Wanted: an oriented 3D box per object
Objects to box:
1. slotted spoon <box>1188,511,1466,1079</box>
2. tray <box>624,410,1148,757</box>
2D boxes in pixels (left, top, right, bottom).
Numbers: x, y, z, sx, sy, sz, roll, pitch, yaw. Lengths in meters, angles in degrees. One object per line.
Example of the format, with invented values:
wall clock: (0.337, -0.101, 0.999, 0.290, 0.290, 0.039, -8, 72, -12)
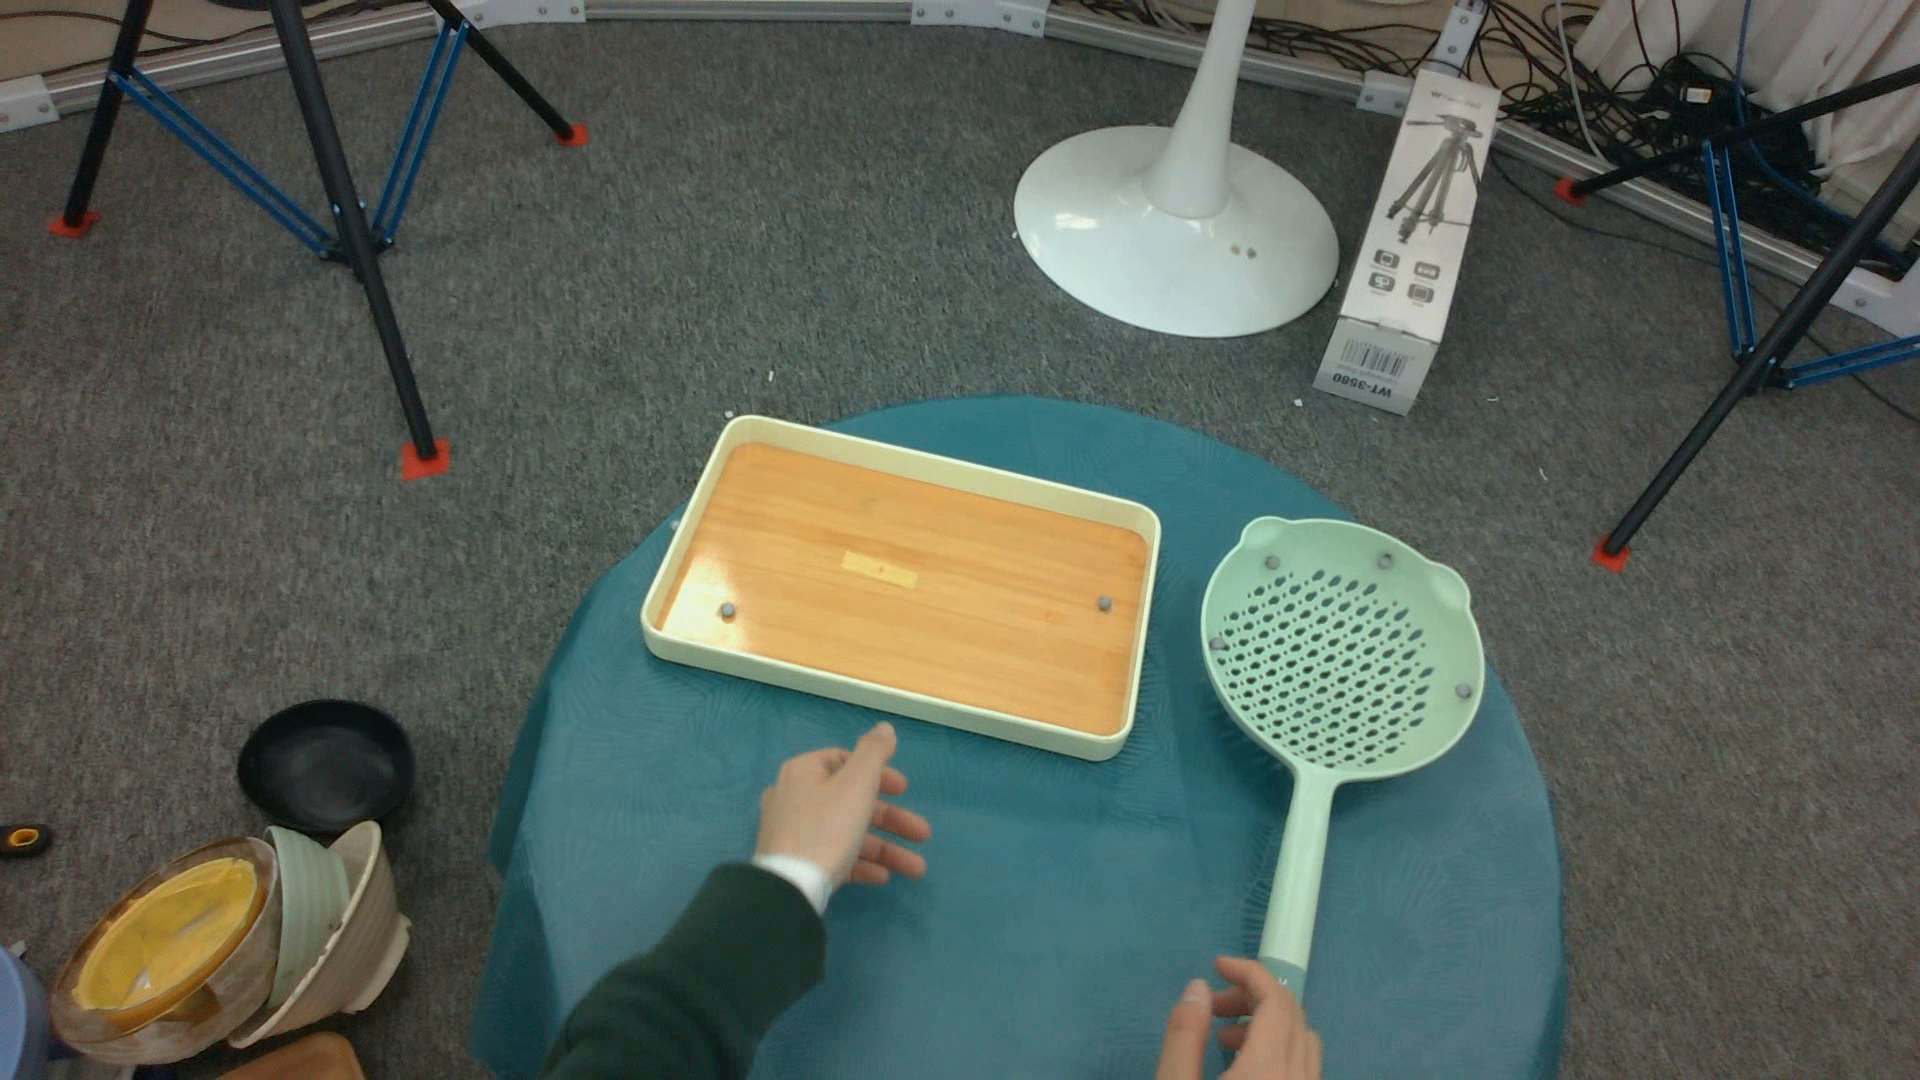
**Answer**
slotted spoon: (0.190, 0.141, 0.780, 0.169, 0.075, 0.361, 17, 50, 5)
tray: (-0.039, 0.021, 0.866, 0.300, 0.027, 0.192, 13, 50, 2)
